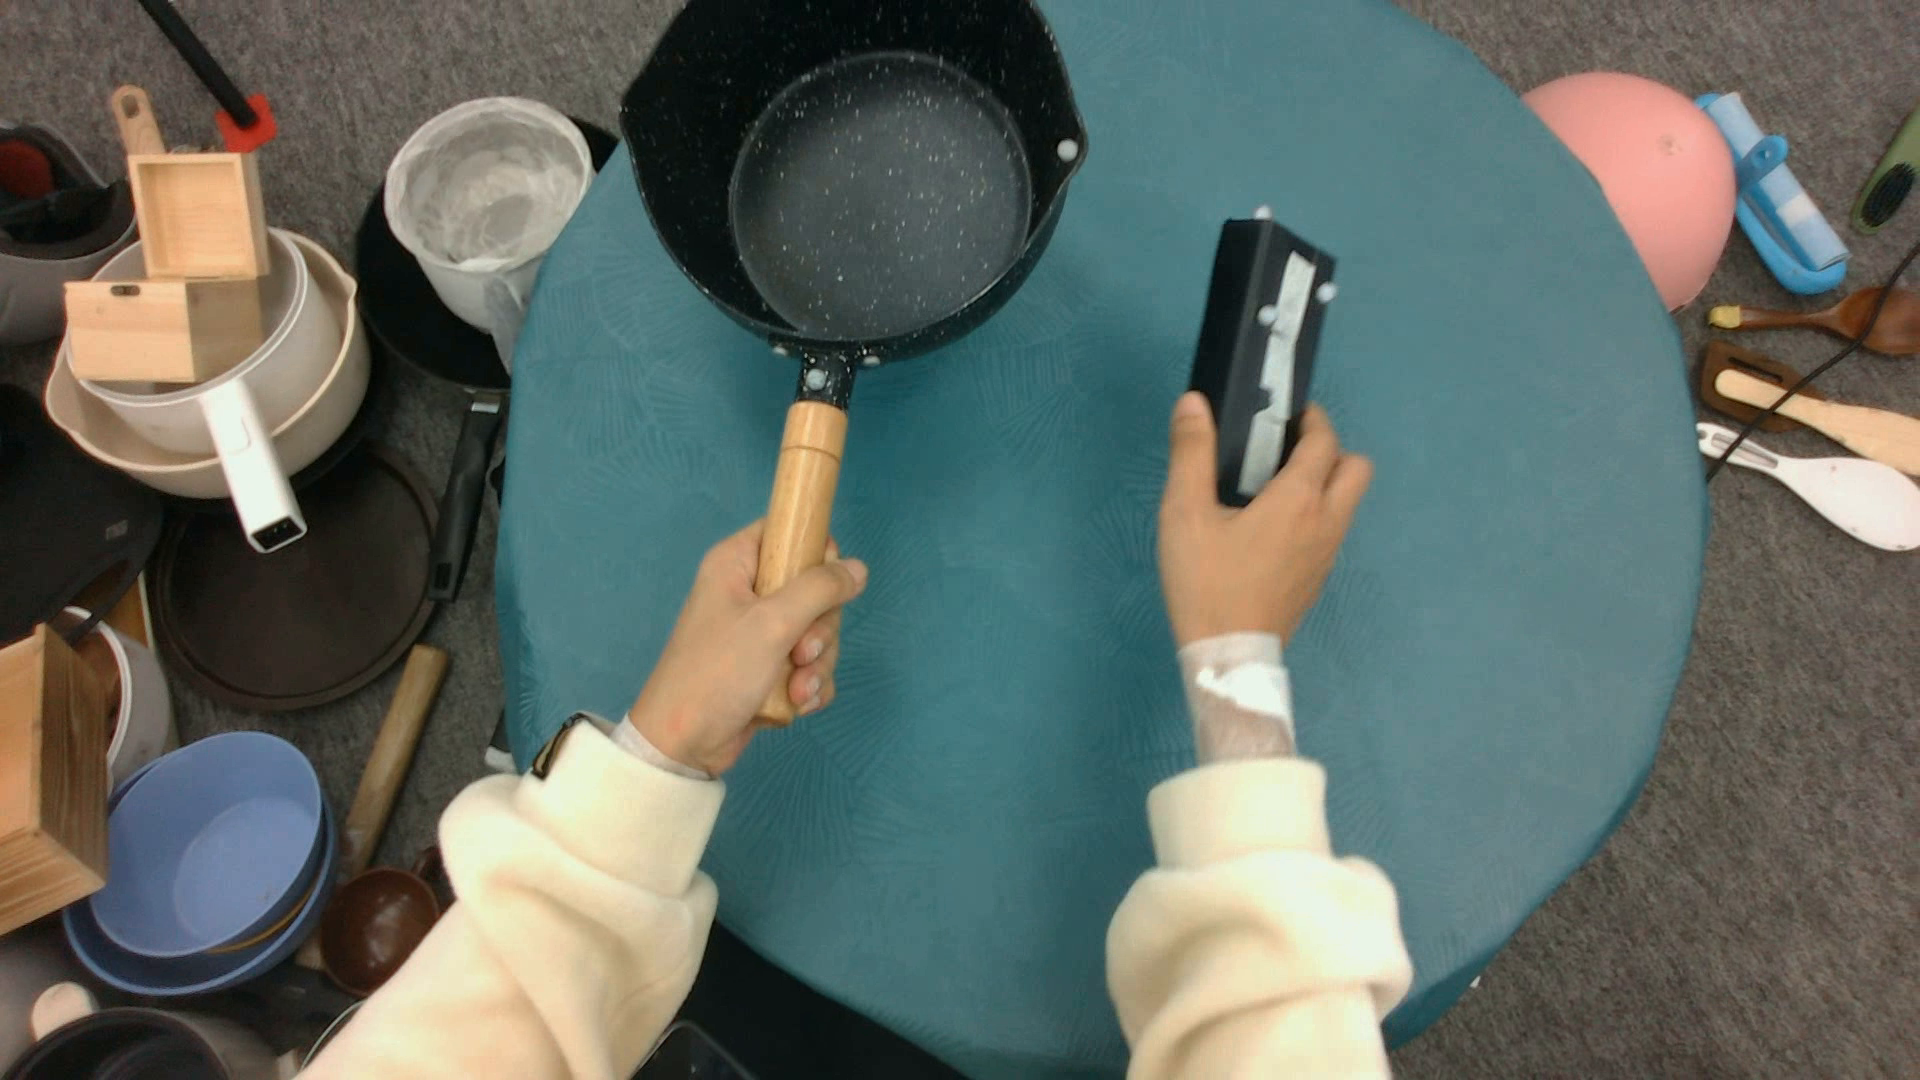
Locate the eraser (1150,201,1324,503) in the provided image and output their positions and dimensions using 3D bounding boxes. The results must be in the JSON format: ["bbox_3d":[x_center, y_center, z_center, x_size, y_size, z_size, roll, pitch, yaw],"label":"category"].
[{"bbox_3d":[0.123,-0.083,0.612,0.053,0.030,0.125,19,81,-34],"label":"eraser"}]

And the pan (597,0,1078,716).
[{"bbox_3d":[-0.058,-0.093,0.595,0.207,0.108,0.343,5,80,5],"label":"pan"}]
